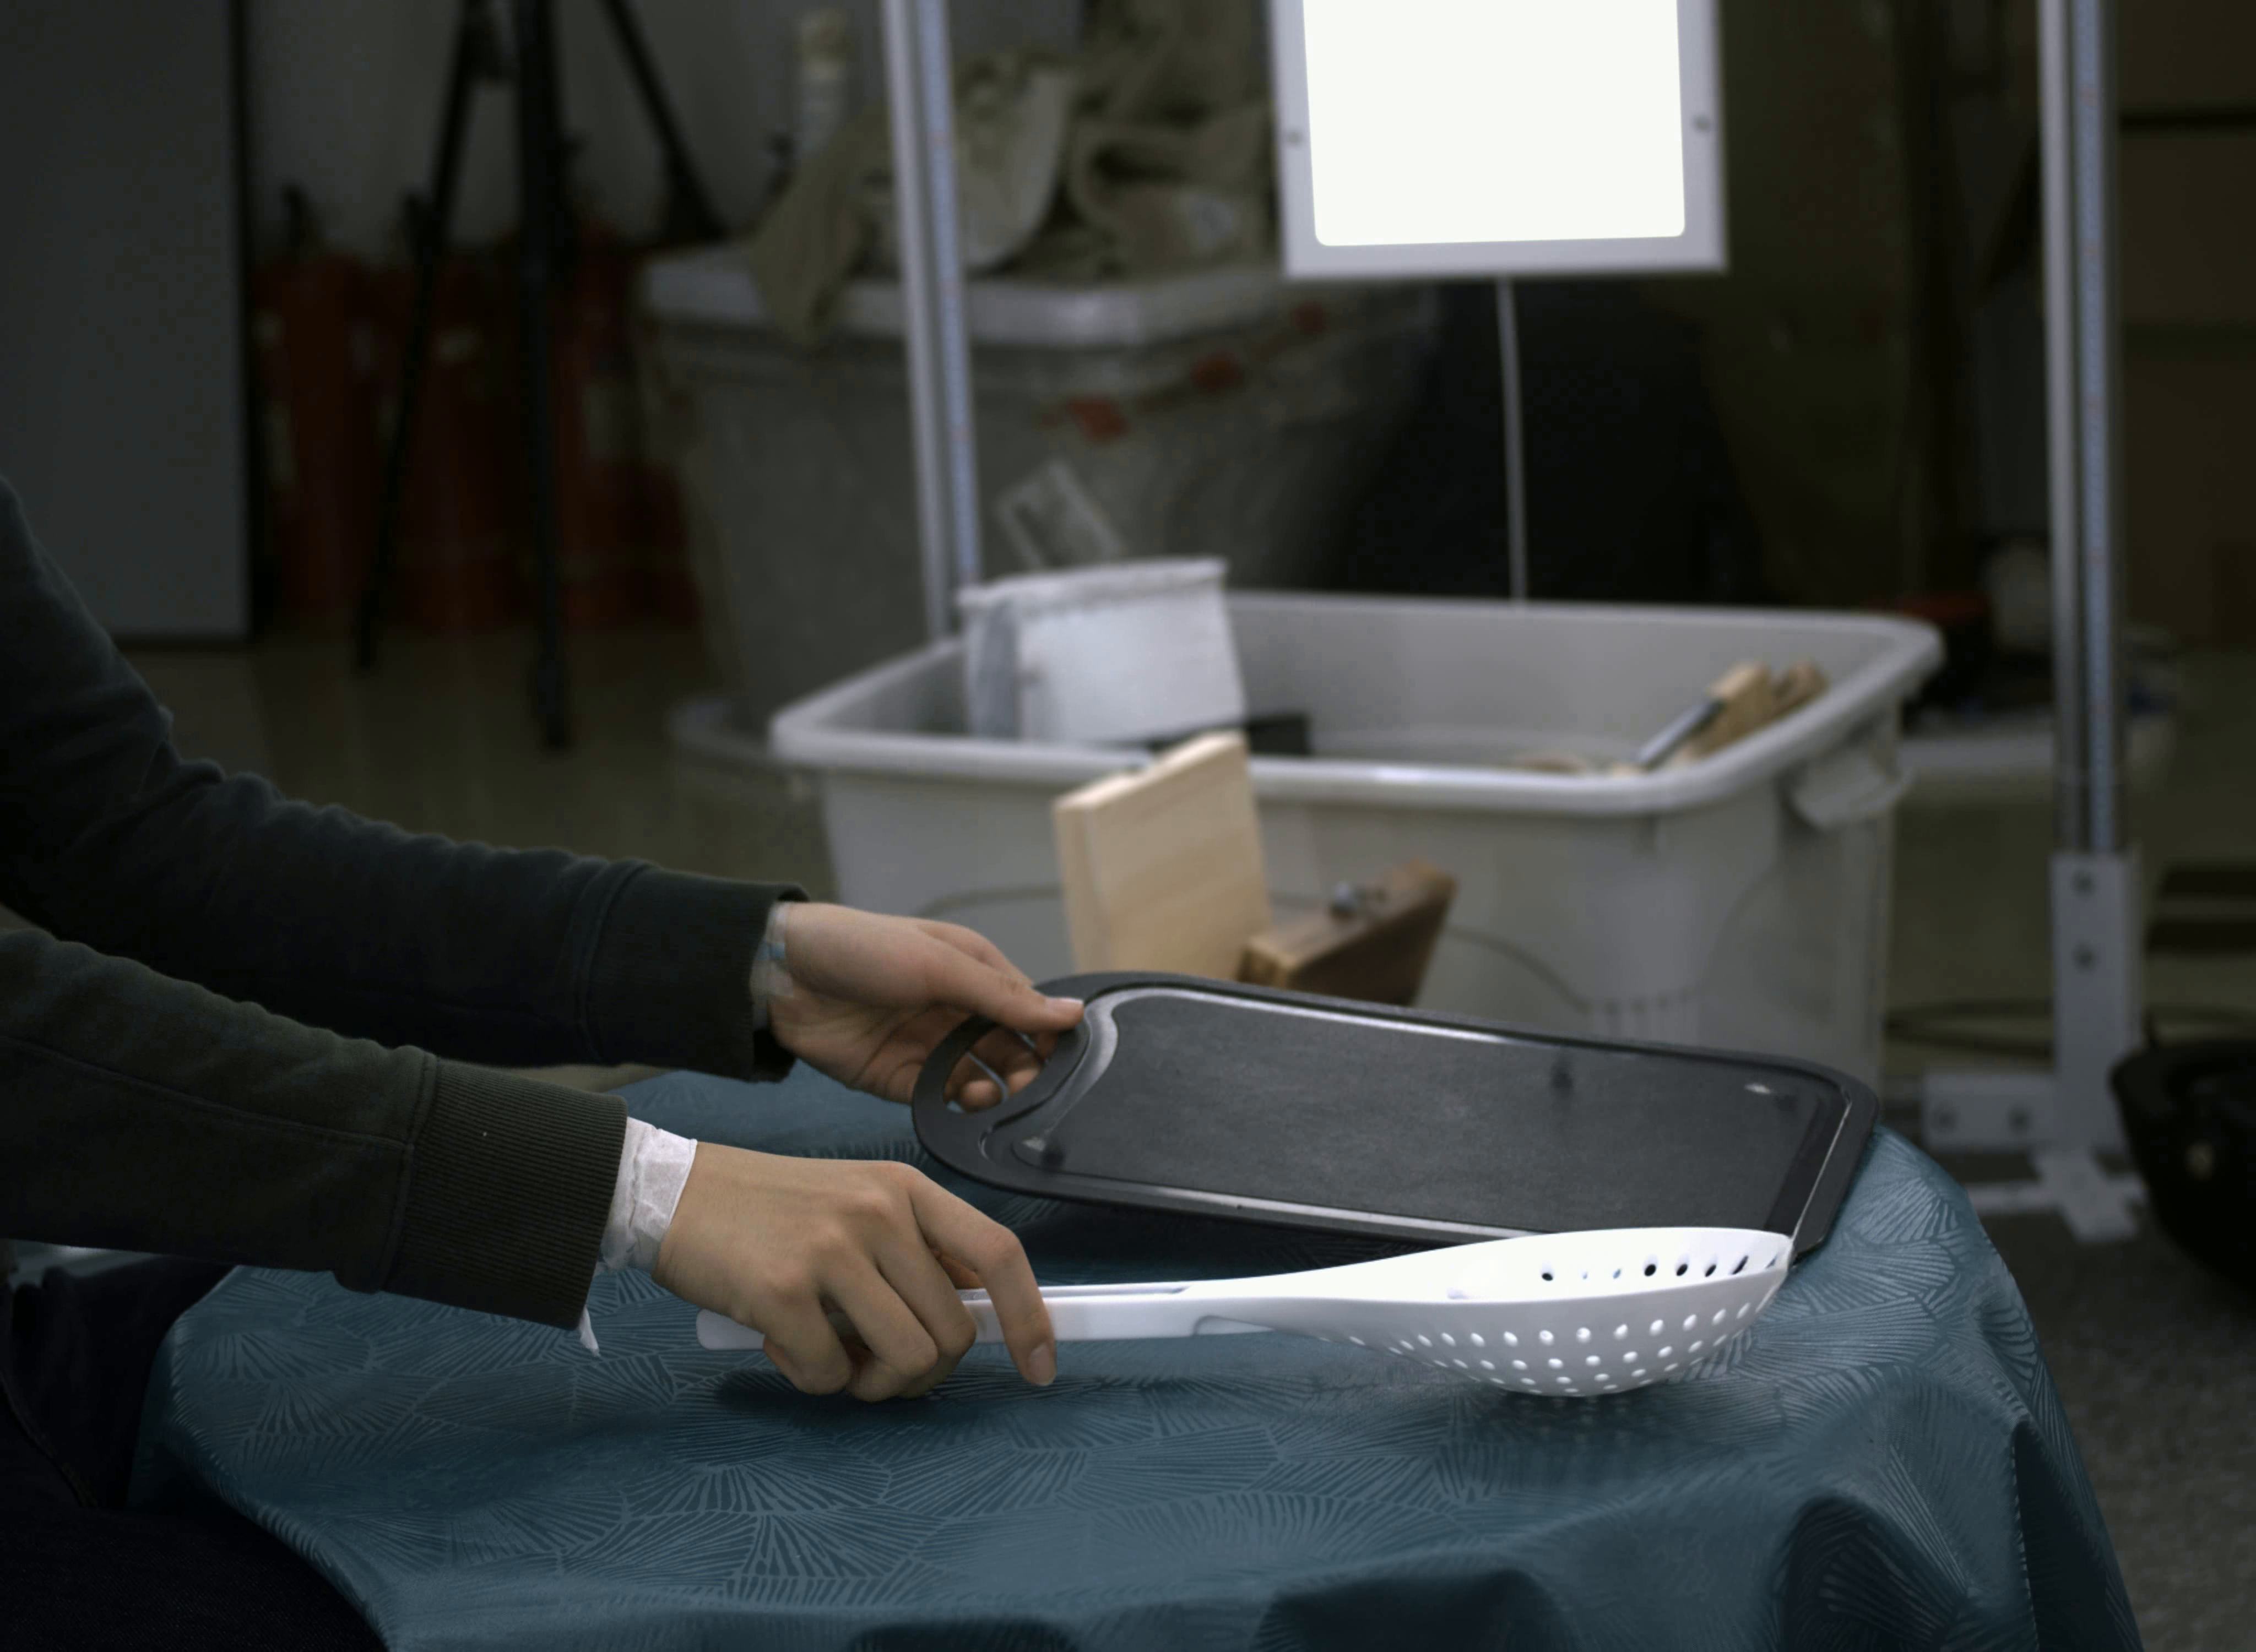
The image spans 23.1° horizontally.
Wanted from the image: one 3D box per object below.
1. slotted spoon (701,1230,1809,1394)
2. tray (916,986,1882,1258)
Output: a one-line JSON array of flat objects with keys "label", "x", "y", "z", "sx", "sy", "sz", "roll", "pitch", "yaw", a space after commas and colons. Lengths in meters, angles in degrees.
[{"label": "slotted spoon", "x": 0.035, "y": 0.146, "z": 1.691, "sx": 0.354, "sy": 0.046, "sz": 0.134, "roll": 1, "pitch": 3, "yaw": 18}, {"label": "tray", "x": 0.090, "y": 0.098, "z": 1.884, "sx": 0.329, "sy": 0.010, "sz": 0.208, "roll": 6, "pitch": 18, "yaw": 16}]
